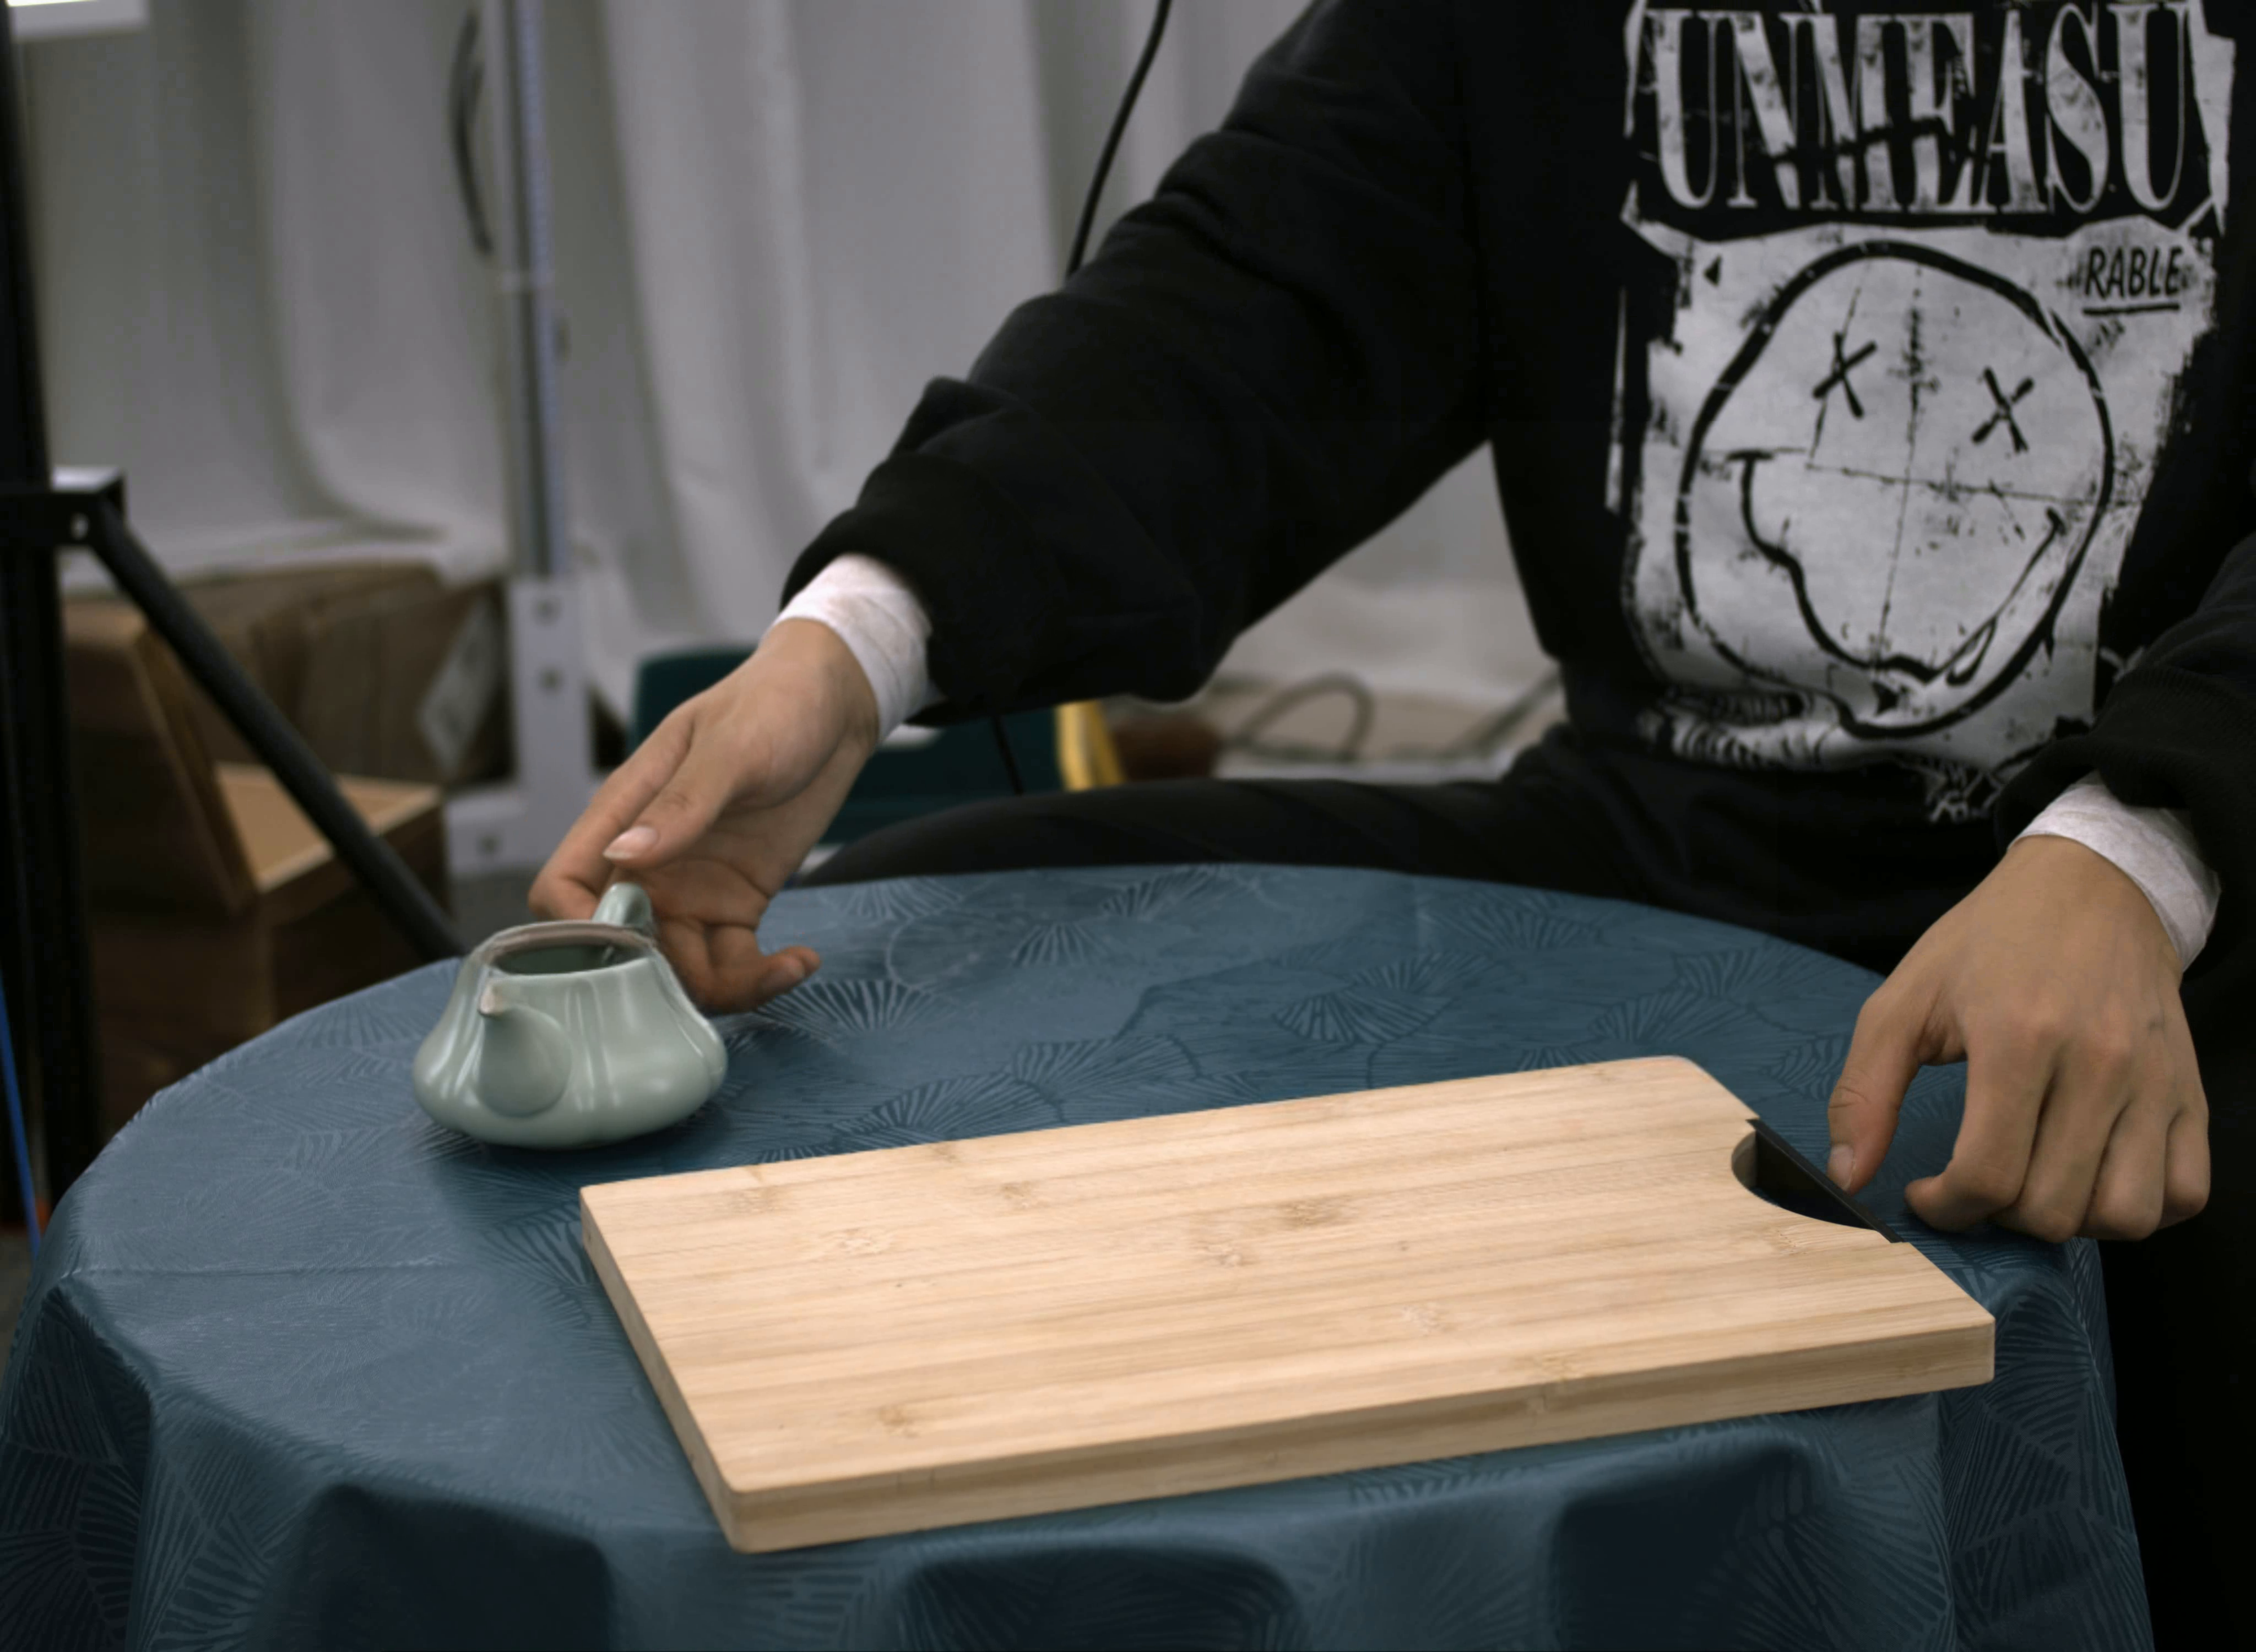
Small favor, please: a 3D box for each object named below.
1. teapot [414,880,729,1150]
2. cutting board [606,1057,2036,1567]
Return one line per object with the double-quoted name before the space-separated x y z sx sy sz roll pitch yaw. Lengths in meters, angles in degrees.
"teapot" -0.170 0.061 1.638 0.097 0.061 0.136 0 16 13
"cutting board" 0.041 0.126 1.456 0.343 0.023 0.254 -7 16 -13
